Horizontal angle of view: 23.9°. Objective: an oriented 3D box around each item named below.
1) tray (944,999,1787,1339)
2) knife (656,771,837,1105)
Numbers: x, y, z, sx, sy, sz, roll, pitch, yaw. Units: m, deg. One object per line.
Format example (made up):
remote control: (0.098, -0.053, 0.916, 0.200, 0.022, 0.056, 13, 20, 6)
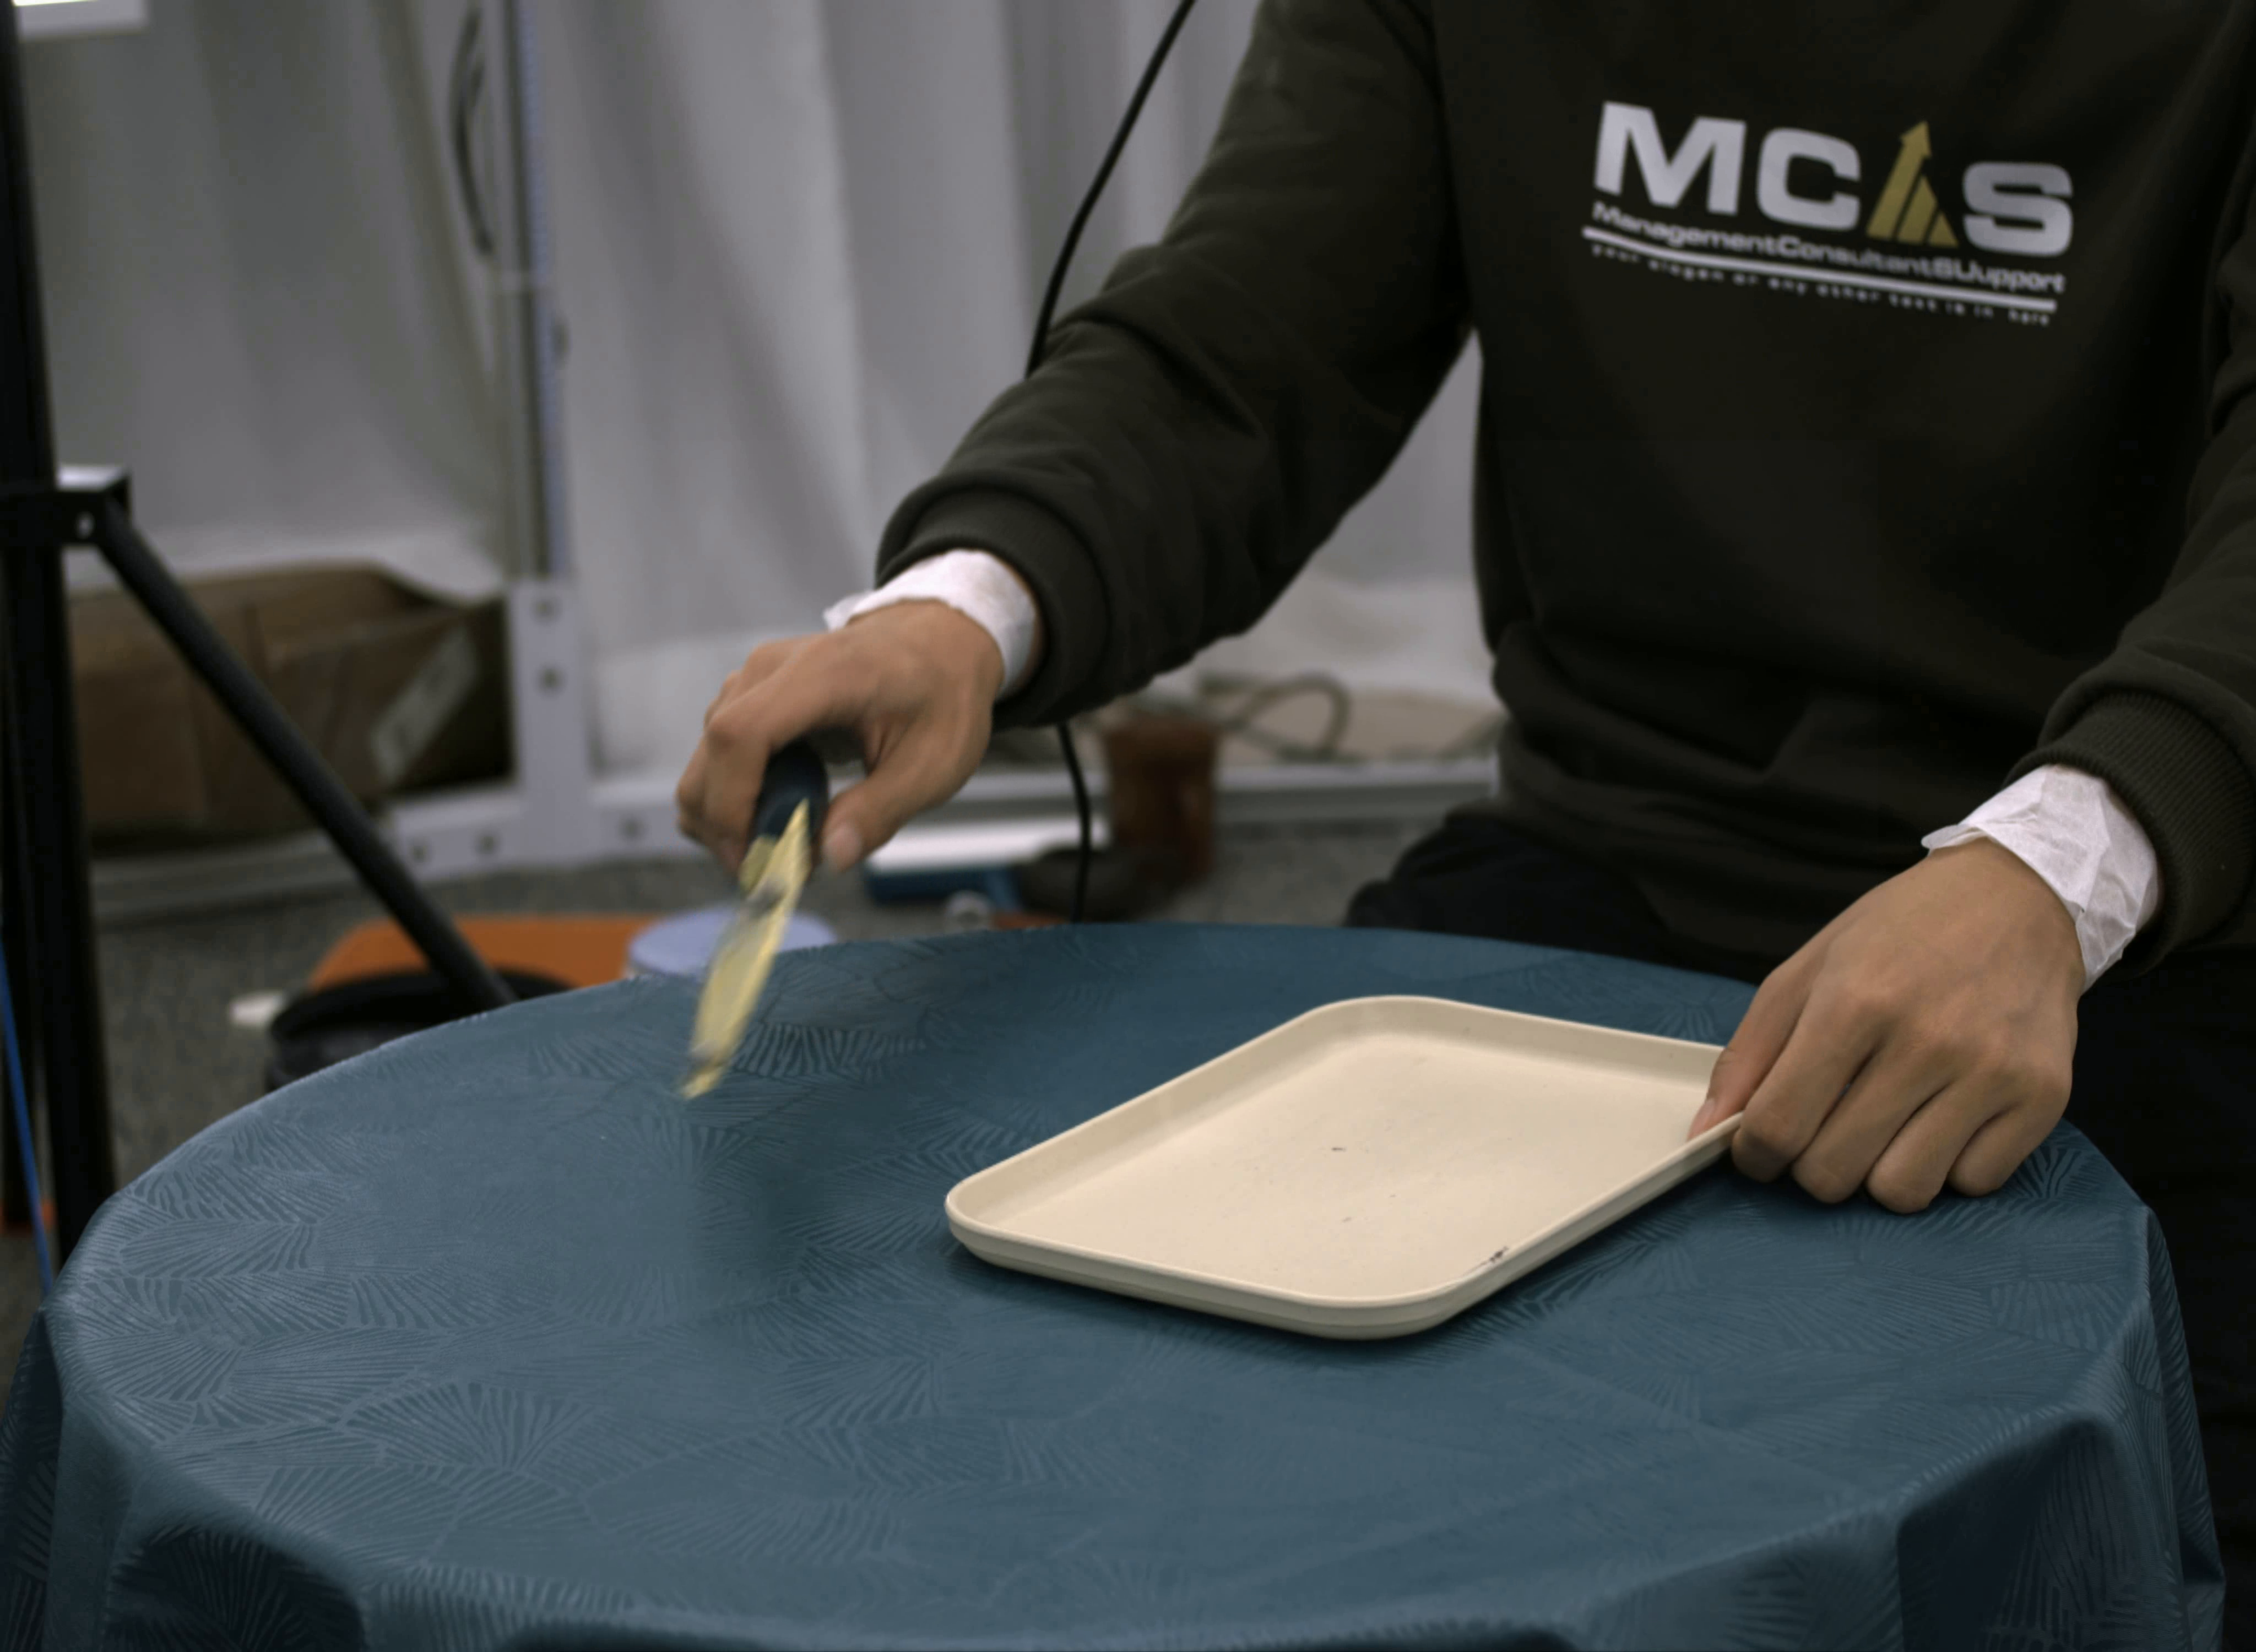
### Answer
tray: (0.073, 0.099, 1.549, 0.175, 0.017, 0.235, 8, 19, 36)
knife: (-0.118, 0.031, 1.633, 0.027, 0.081, 0.290, 31, 12, -5)
